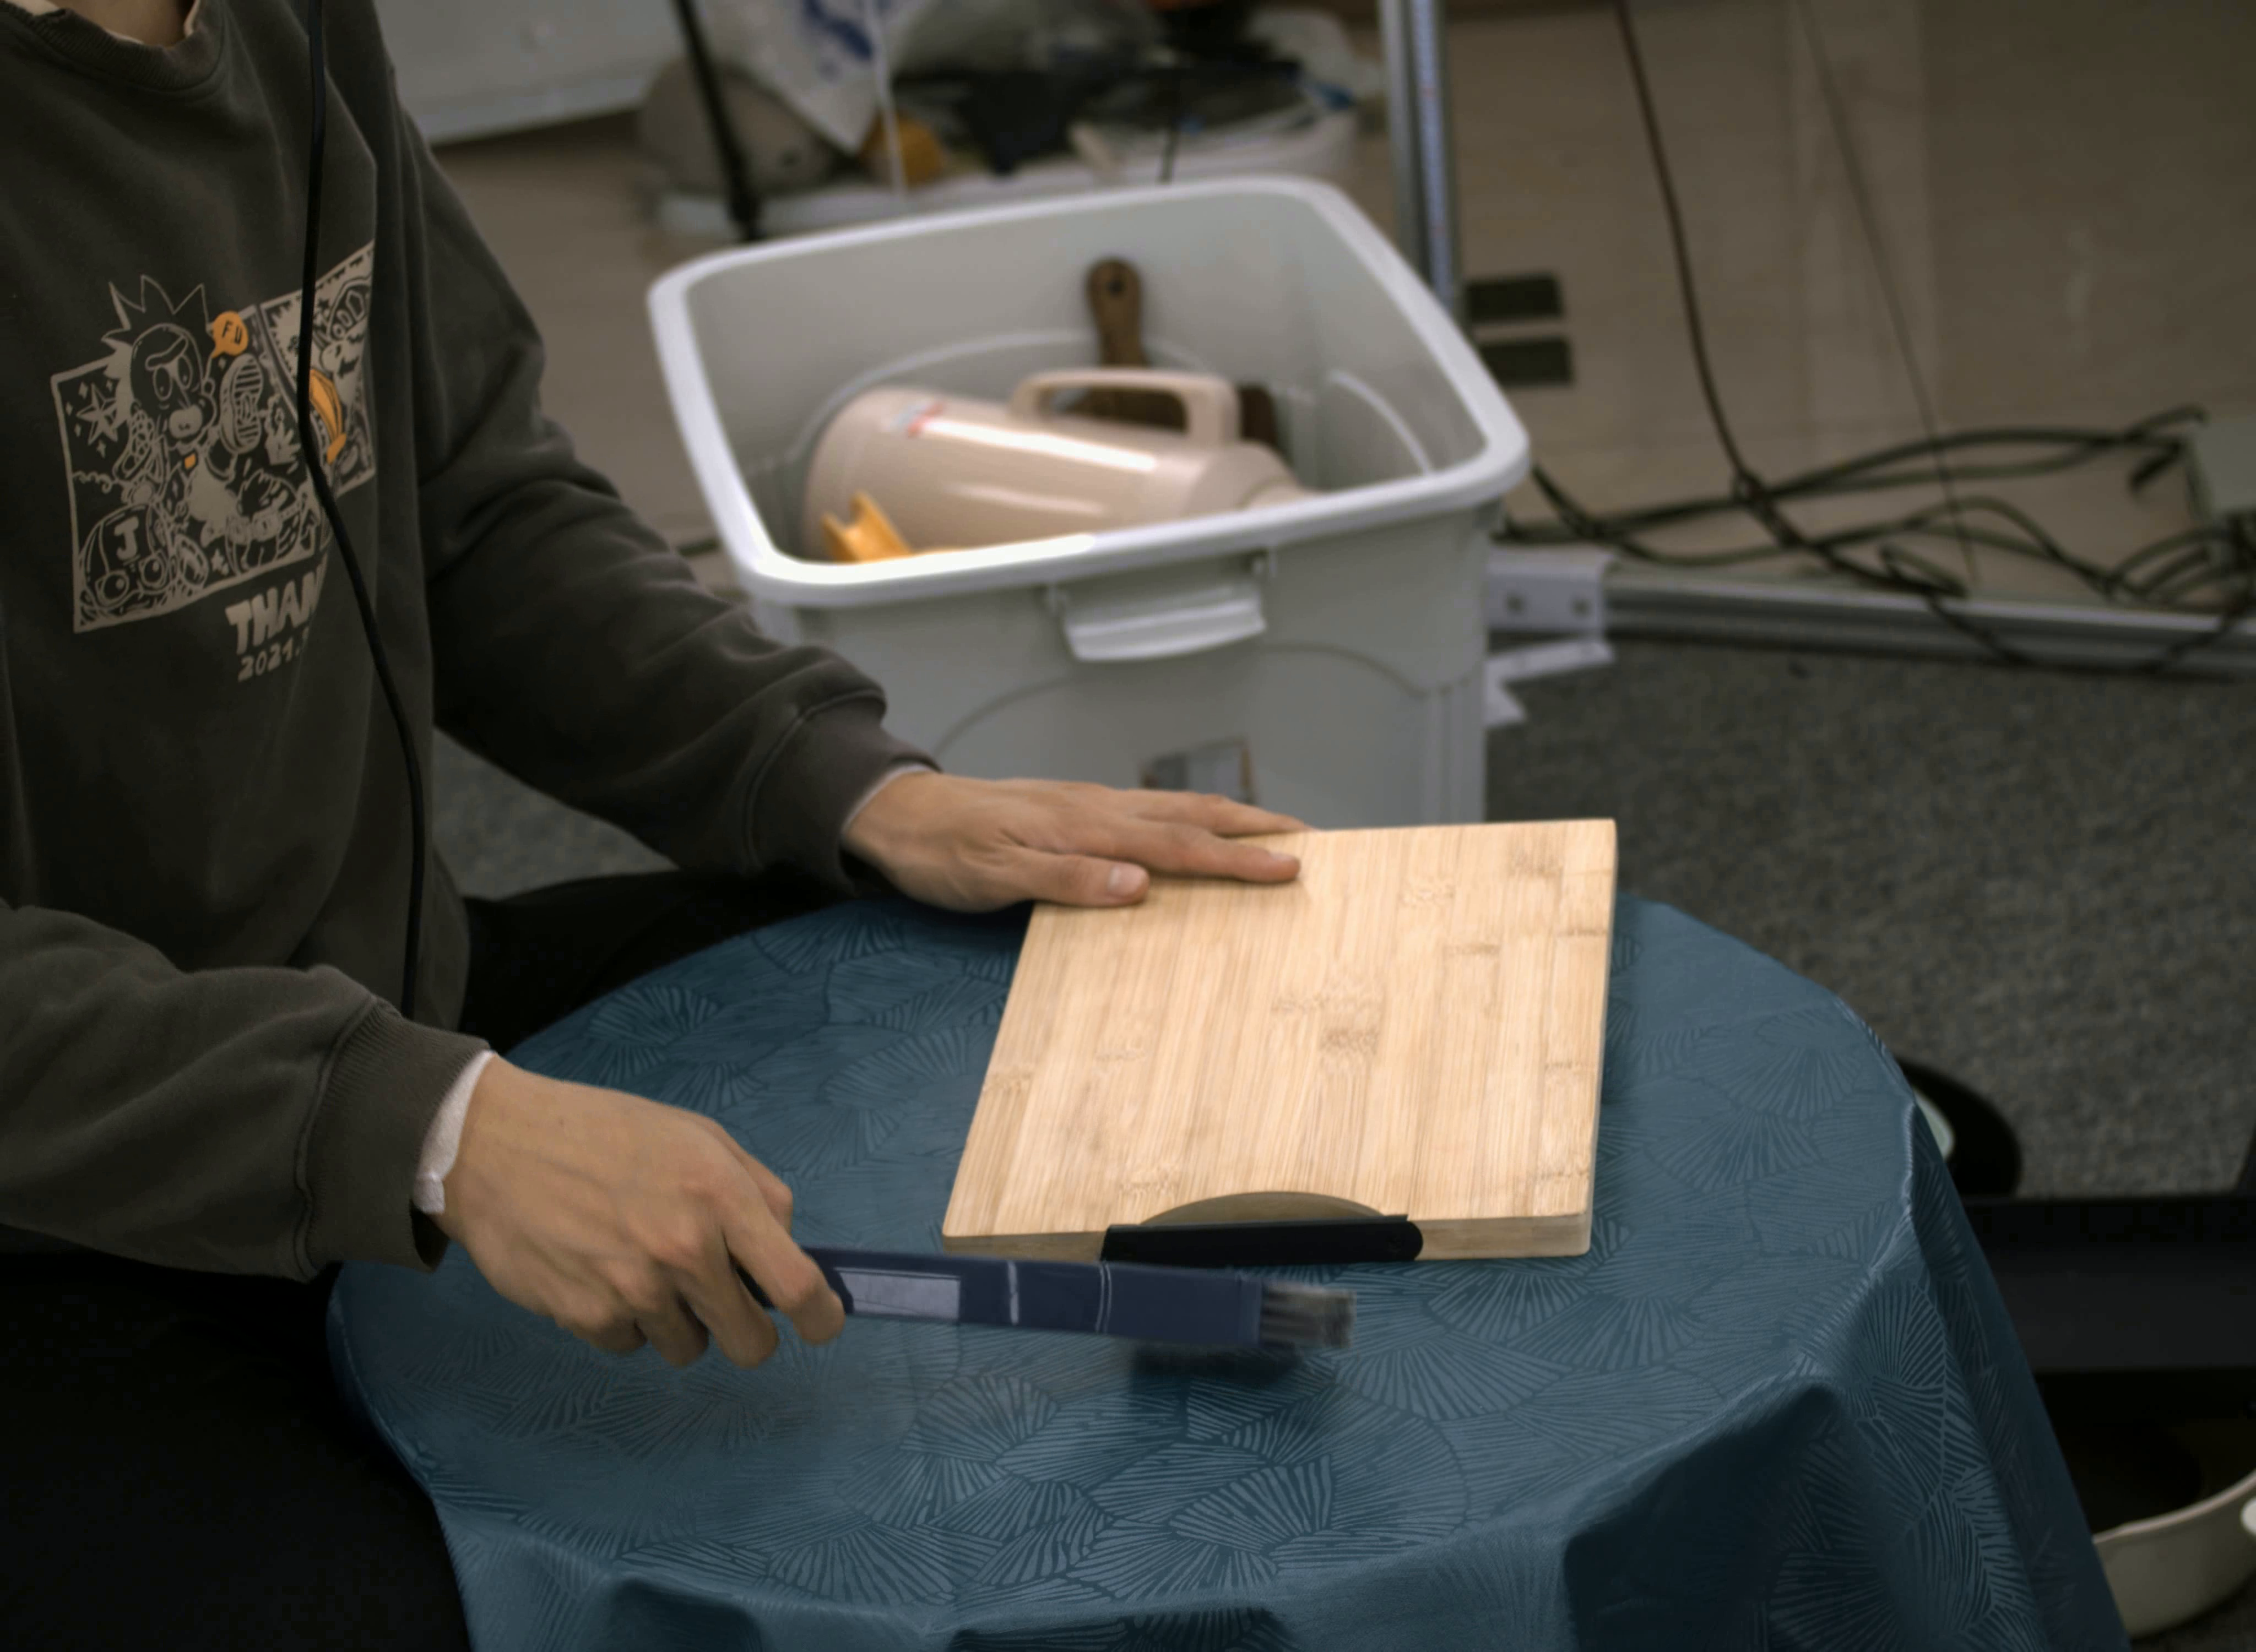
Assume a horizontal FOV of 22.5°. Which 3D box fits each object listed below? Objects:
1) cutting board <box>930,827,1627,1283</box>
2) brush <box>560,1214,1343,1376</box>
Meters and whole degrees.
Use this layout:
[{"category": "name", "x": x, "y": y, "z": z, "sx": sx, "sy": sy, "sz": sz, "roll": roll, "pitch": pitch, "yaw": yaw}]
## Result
[{"category": "cutting board", "x": 0.067, "y": 0.085, "z": 2.225, "sx": 0.250, "sy": 0.024, "sz": 0.343, "roll": -4, "pitch": 25, "yaw": 8}, {"category": "brush", "x": -0.064, "y": 0.165, "z": 1.996, "sx": 0.273, "sy": 0.033, "sz": 0.095, "roll": 5, "pitch": 1, "yaw": -5}]
